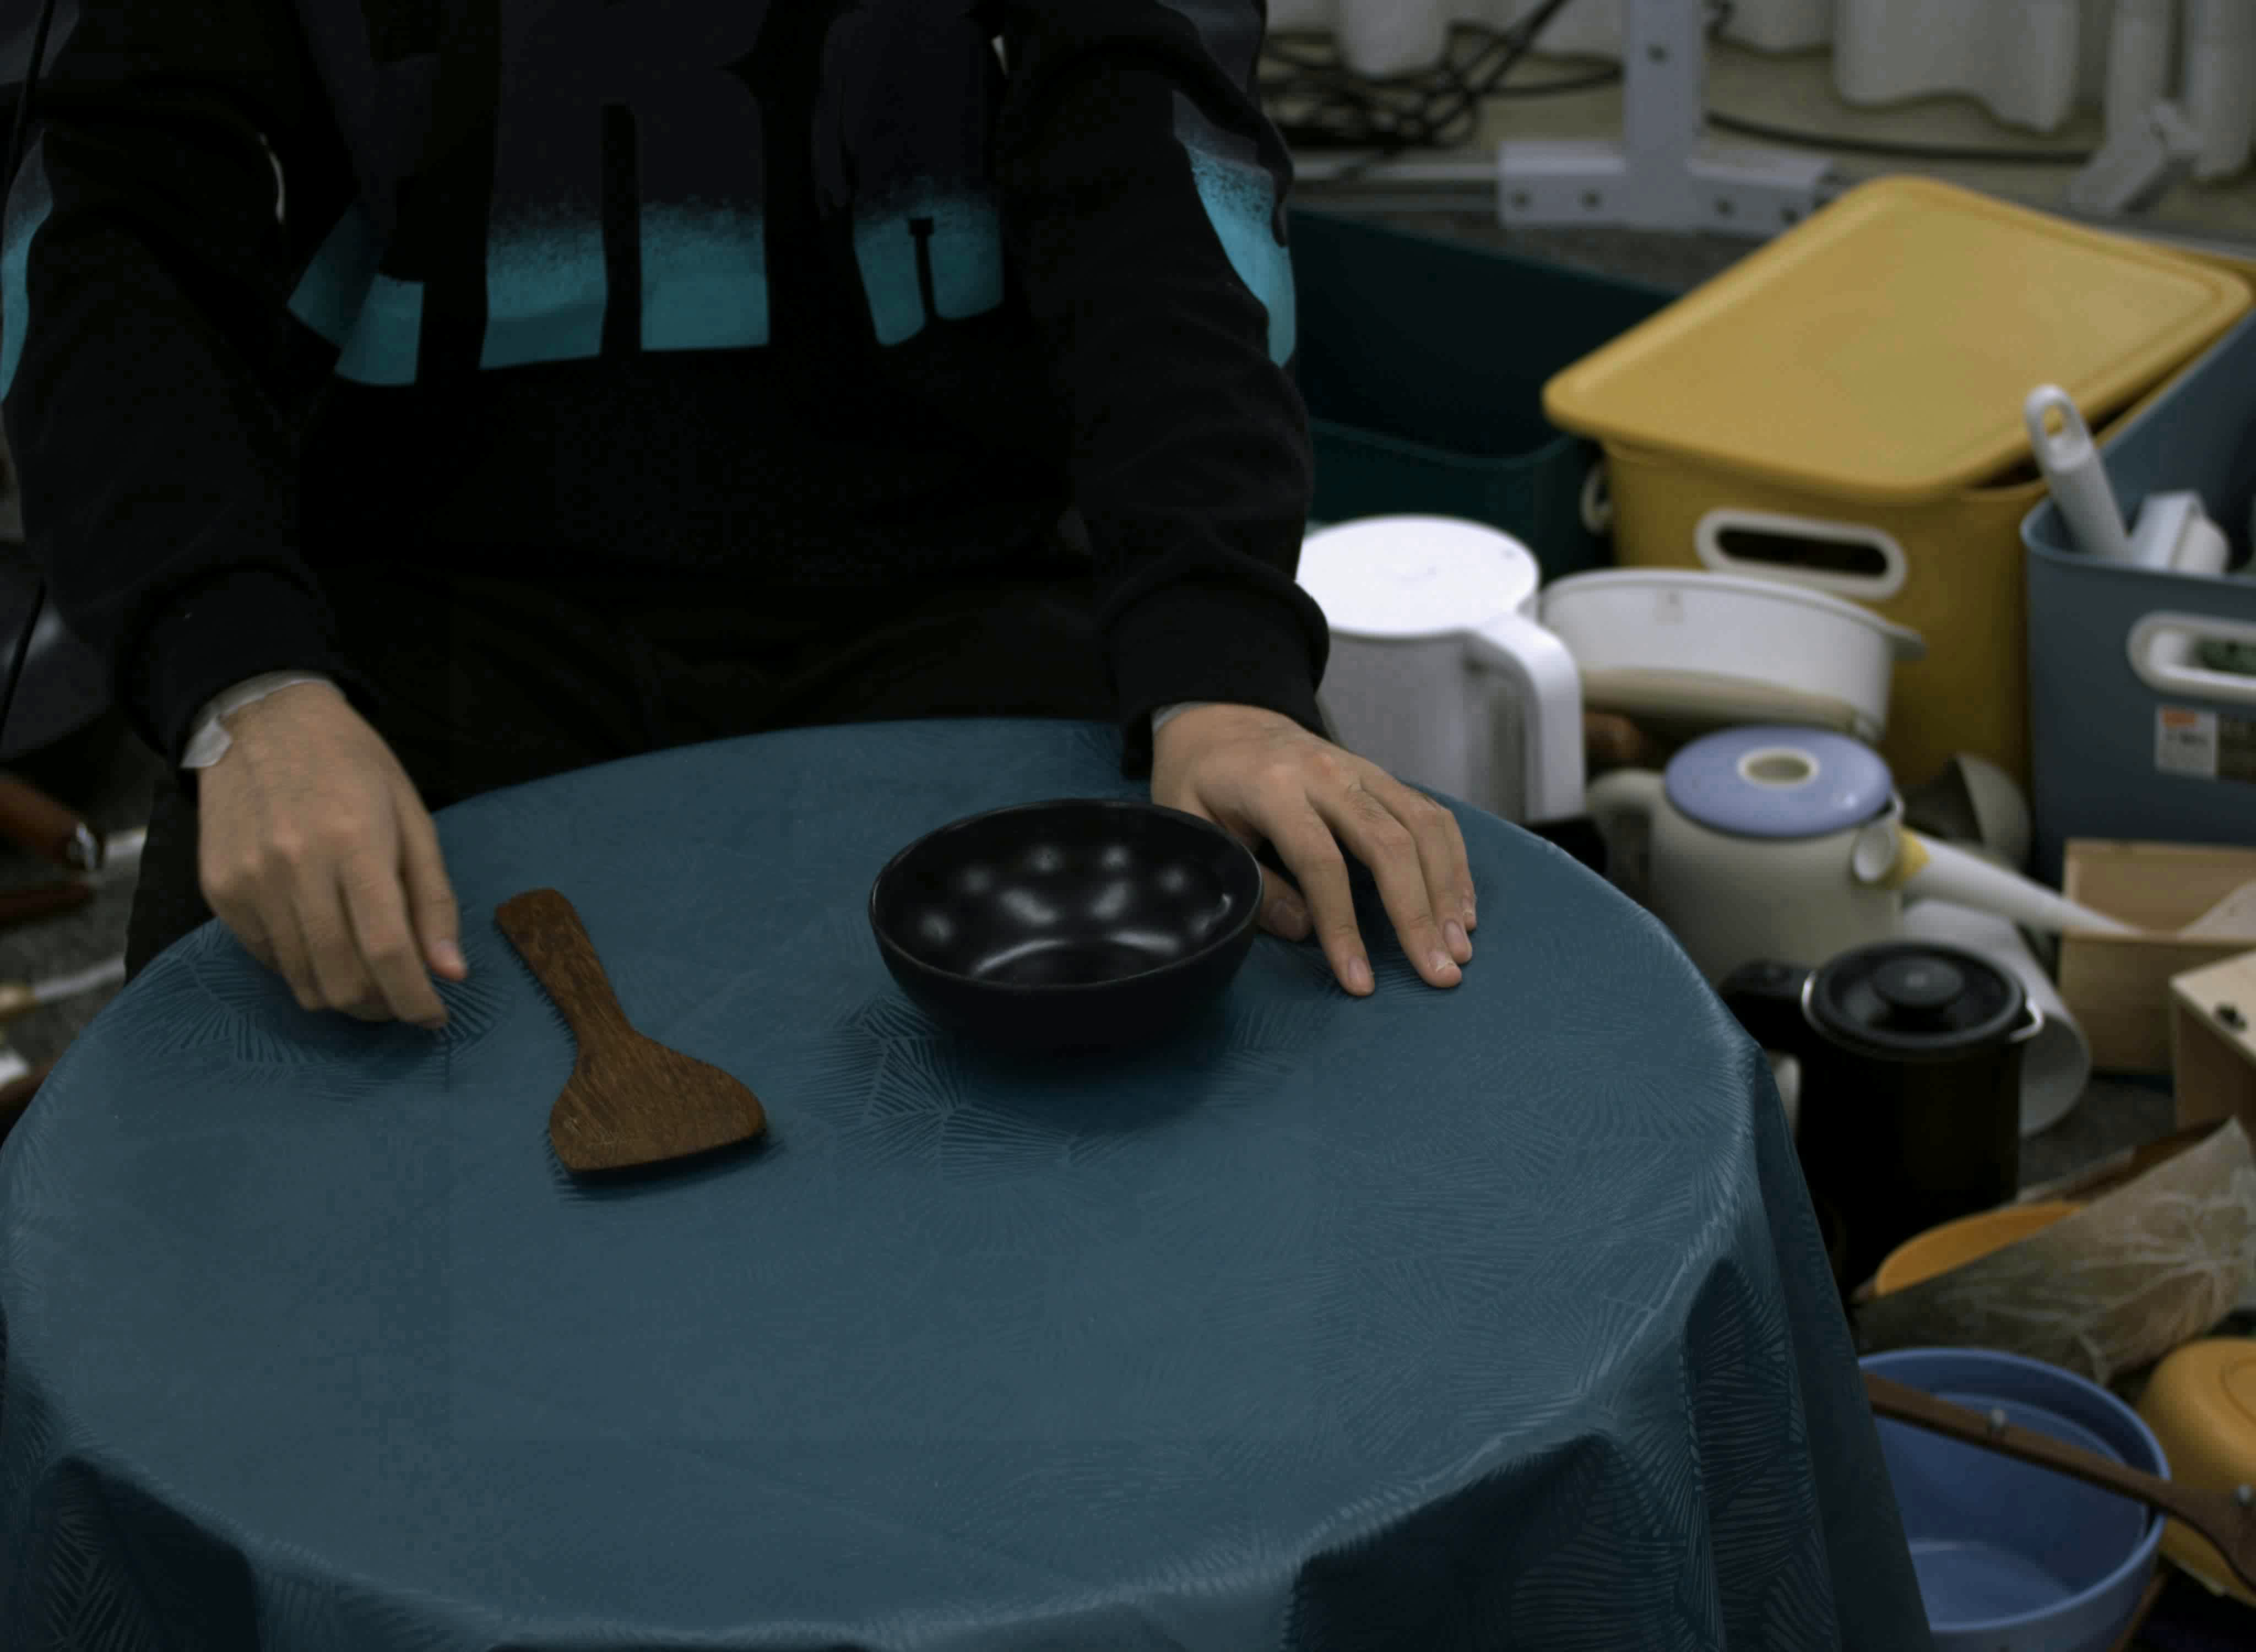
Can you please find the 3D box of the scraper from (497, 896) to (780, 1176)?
[{"bbox_3d":[-0.184,0.072,1.968,0.076,0.011,0.213,-11,27,-17],"label":"scraper"}]

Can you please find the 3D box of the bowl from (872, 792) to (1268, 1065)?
[{"bbox_3d":[-0.018,0.044,1.960,0.139,0.049,0.142,-4,29,3],"label":"bowl"}]
